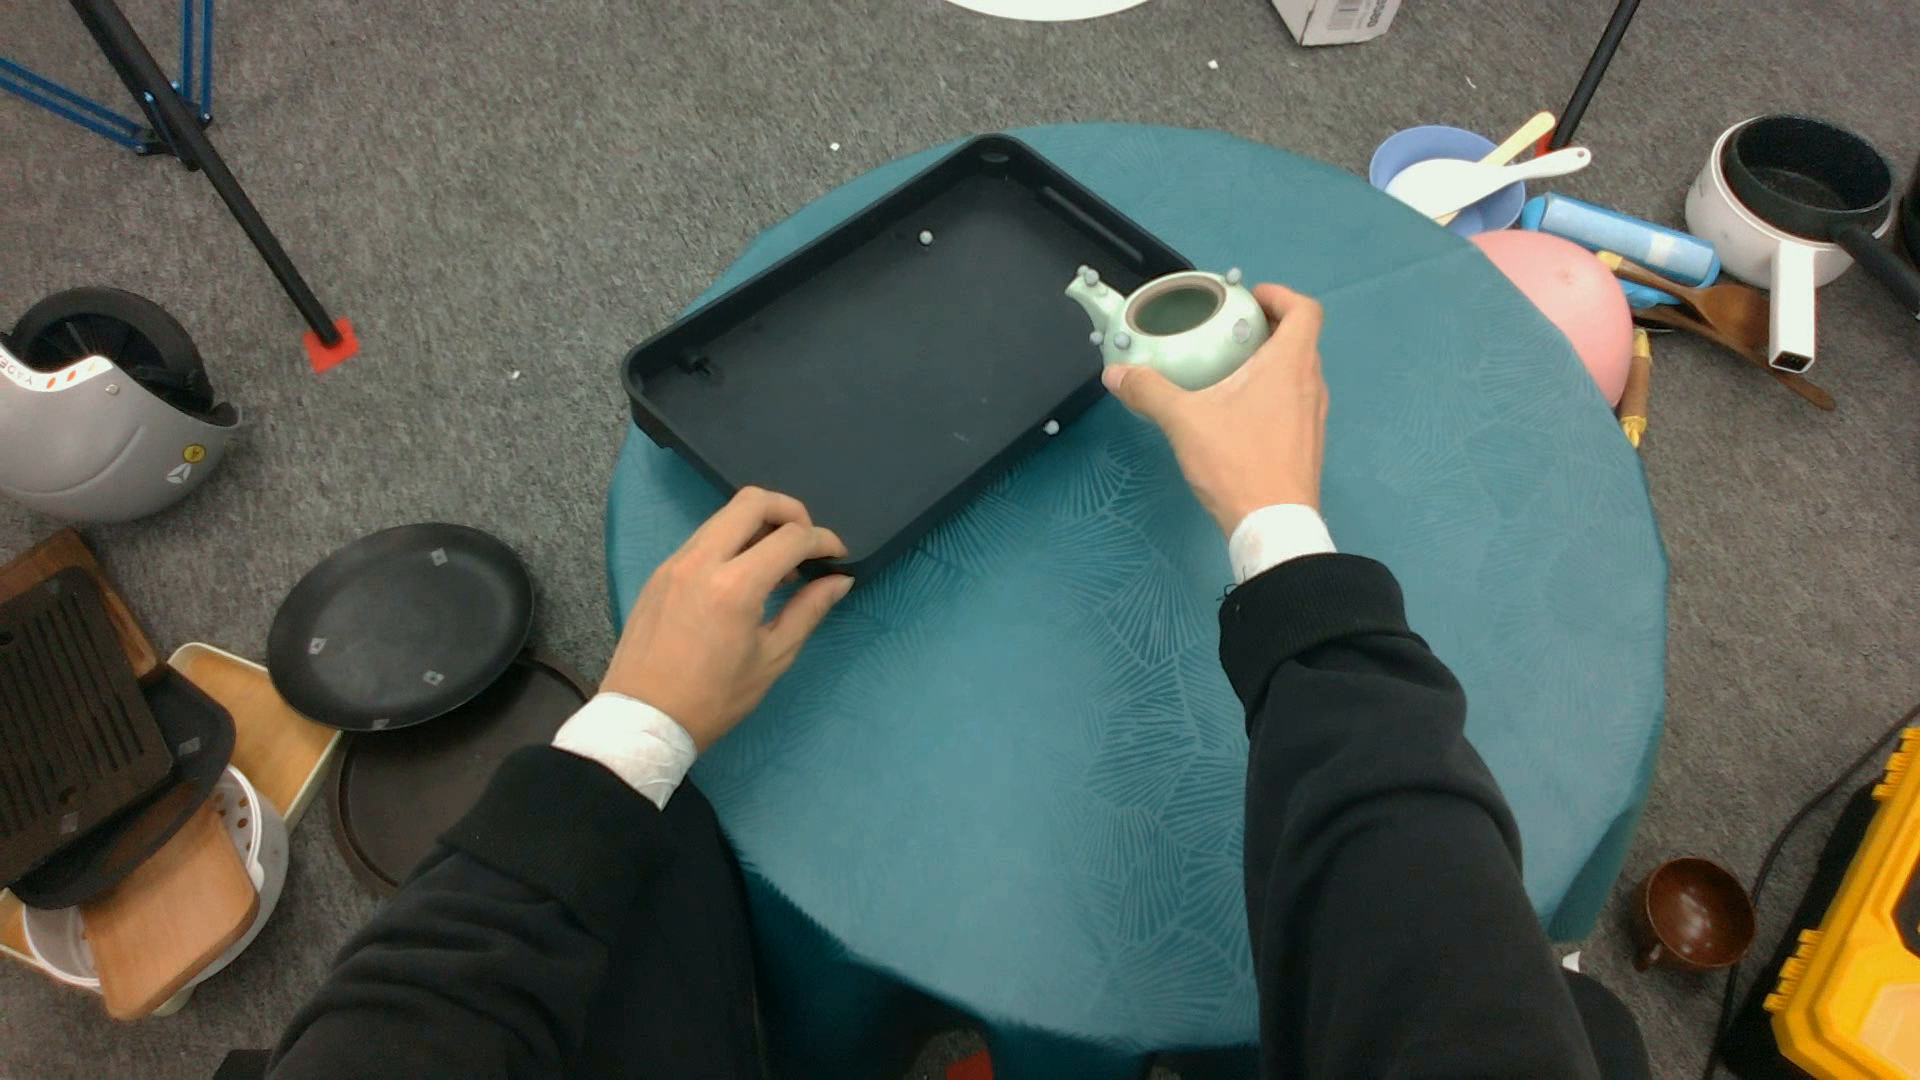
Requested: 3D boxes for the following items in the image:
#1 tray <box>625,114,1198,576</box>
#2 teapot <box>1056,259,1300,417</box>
[{"bbox_3d":[-0.020,-0.127,0.802,0.184,0.037,0.319,39,60,17],"label":"tray"},{"bbox_3d":[0.116,-0.108,0.728,0.143,0.074,0.088,19,56,42],"label":"teapot"}]
